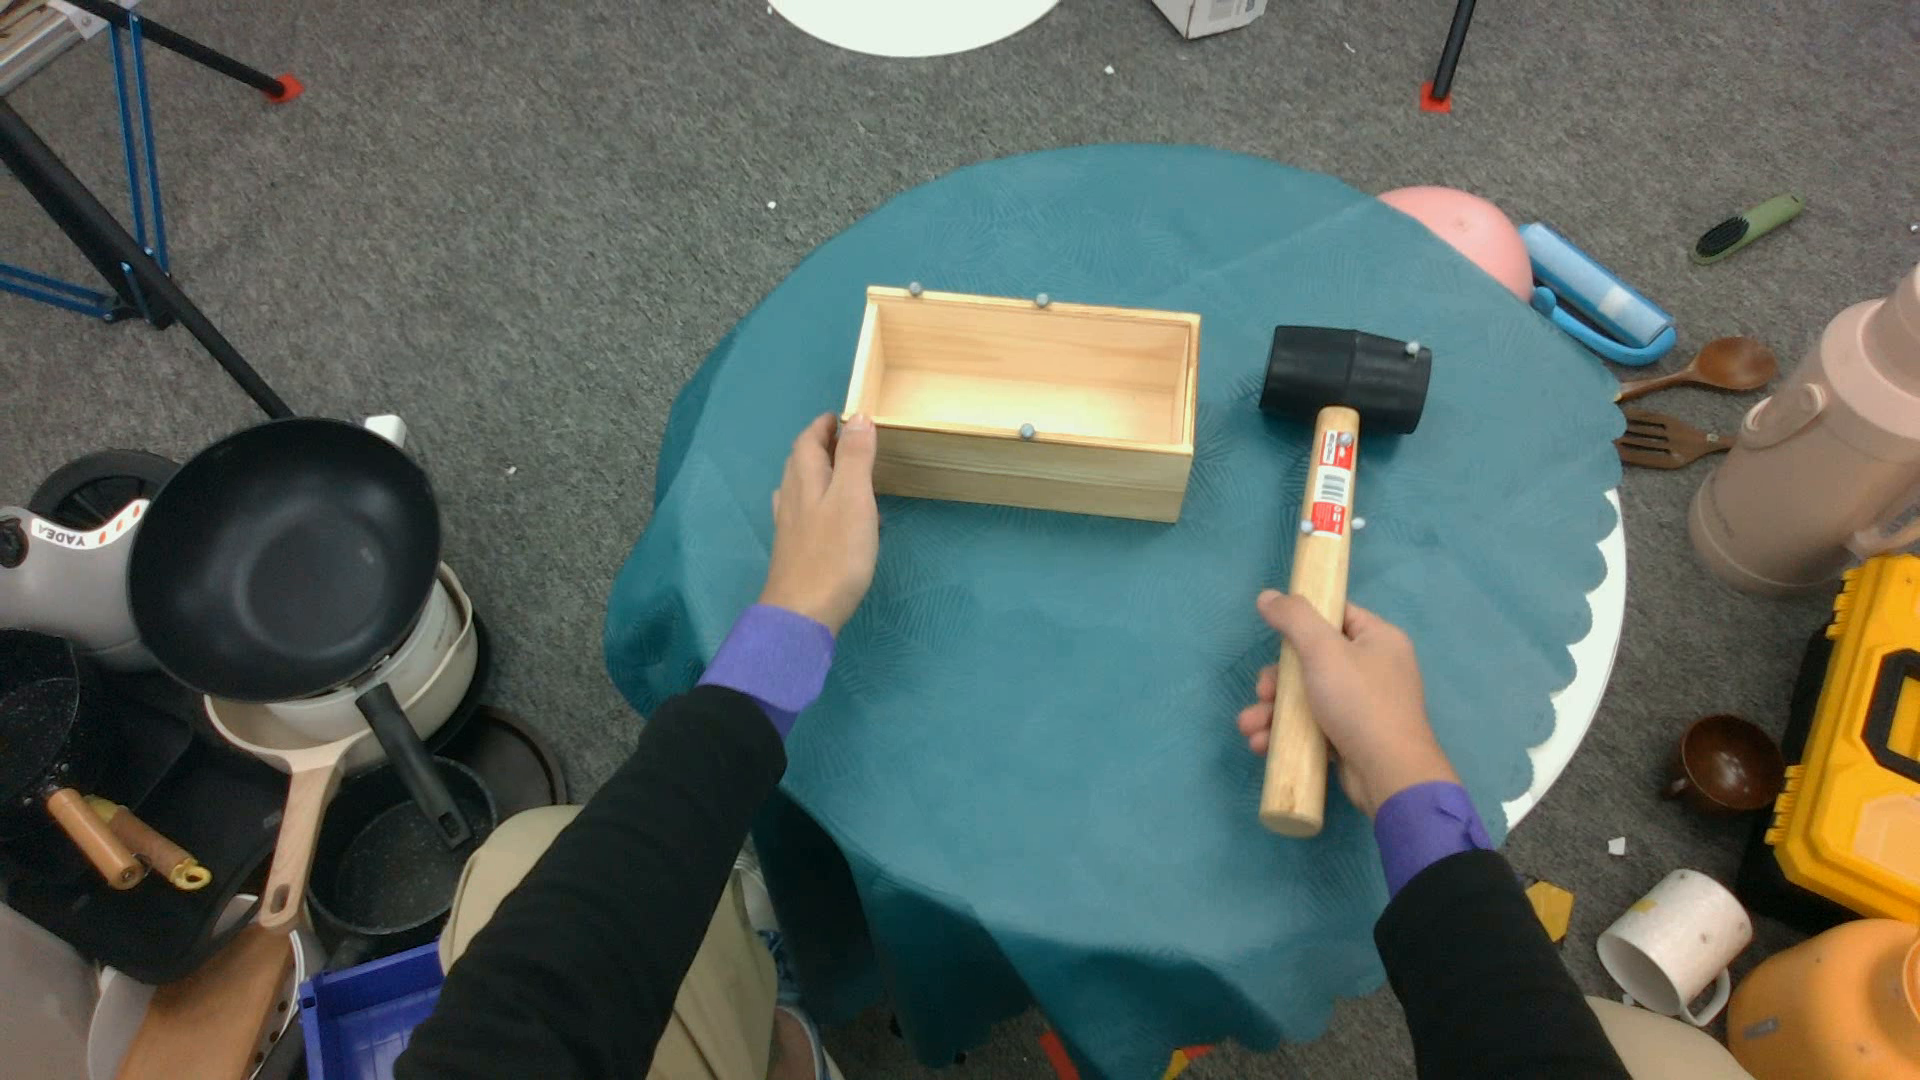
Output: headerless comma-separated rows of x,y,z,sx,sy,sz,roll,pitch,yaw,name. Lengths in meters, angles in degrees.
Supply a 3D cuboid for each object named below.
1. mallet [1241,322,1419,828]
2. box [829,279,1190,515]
0.205,0.003,0.808,0.102,0.064,0.340,9,55,13,mallet
0.033,-0.090,0.869,0.211,0.080,0.108,5,61,4,box
